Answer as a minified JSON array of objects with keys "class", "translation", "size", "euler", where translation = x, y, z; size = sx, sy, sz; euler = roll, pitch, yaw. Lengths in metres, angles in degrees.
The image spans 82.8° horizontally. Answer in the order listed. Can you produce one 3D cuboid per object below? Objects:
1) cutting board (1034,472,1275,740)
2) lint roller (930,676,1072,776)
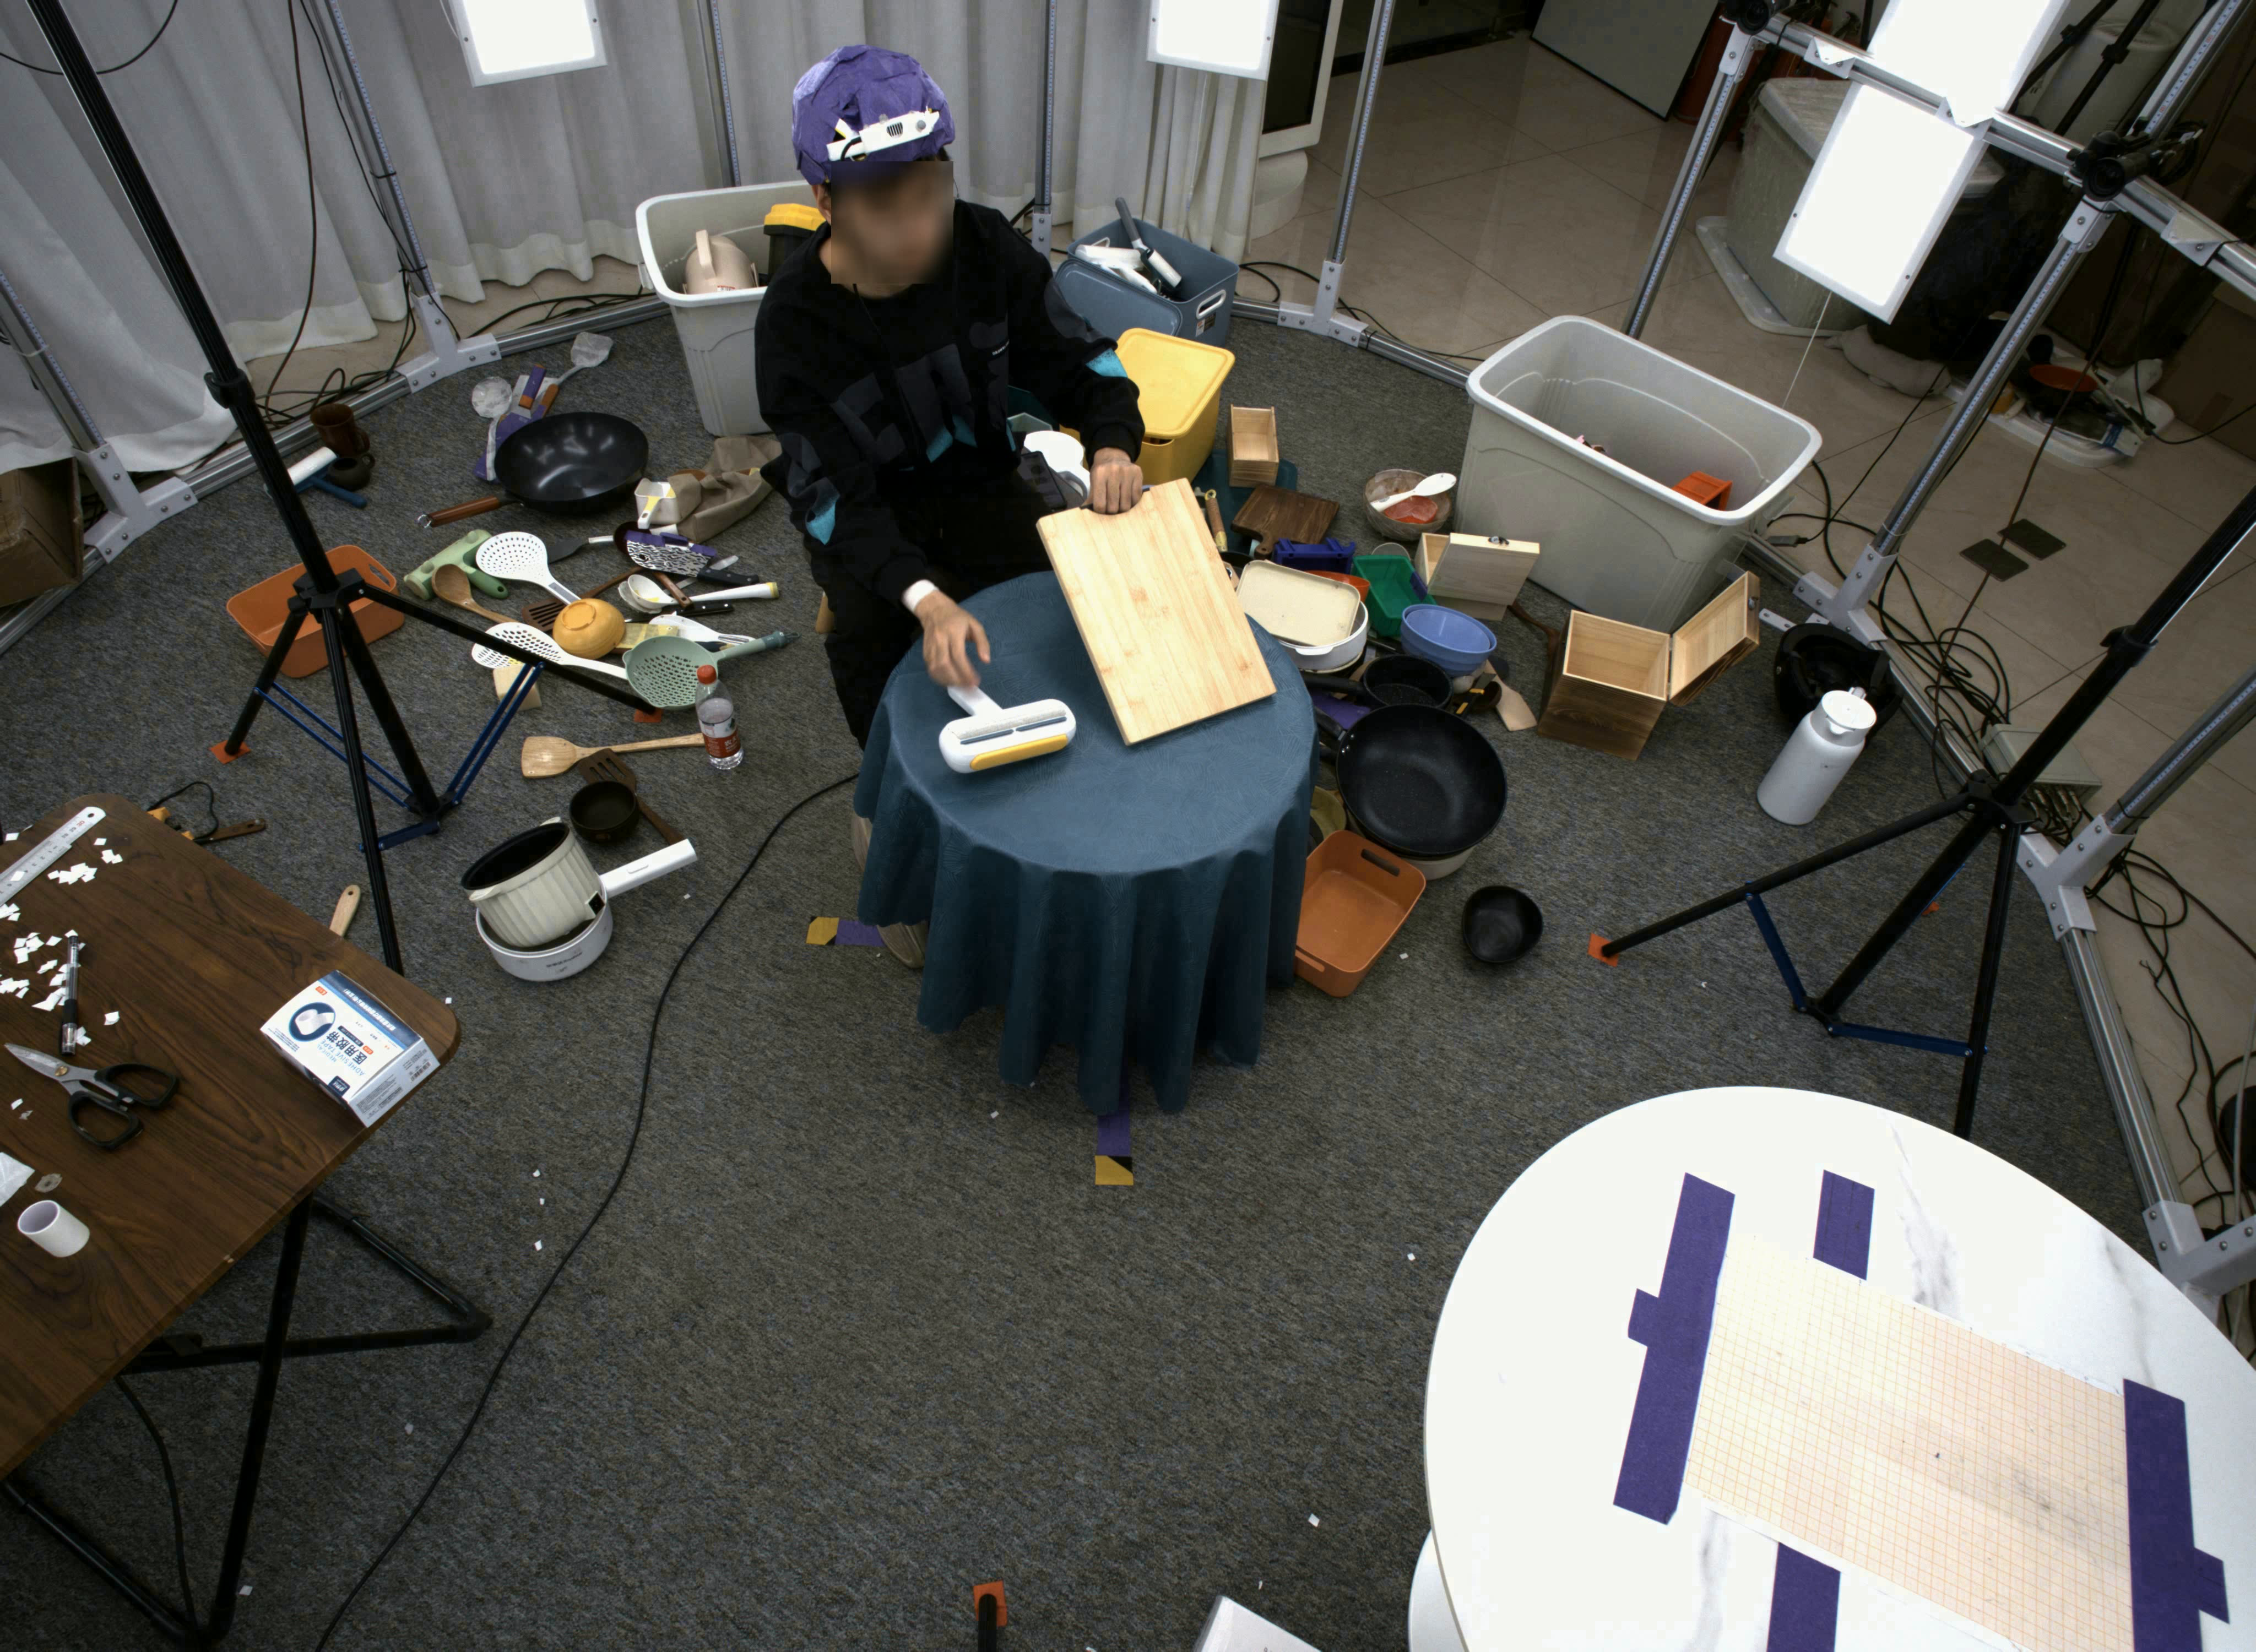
[{"class":"cutting board","translation":[0.039,-0.313,1.819],"size":[0.251,0.023,0.351],"euler":[-21,83,-20]},{"class":"lint roller","translation":[-0.193,-0.153,1.745],"size":[0.193,0.072,0.197],"euler":[-16,50,-23]}]
